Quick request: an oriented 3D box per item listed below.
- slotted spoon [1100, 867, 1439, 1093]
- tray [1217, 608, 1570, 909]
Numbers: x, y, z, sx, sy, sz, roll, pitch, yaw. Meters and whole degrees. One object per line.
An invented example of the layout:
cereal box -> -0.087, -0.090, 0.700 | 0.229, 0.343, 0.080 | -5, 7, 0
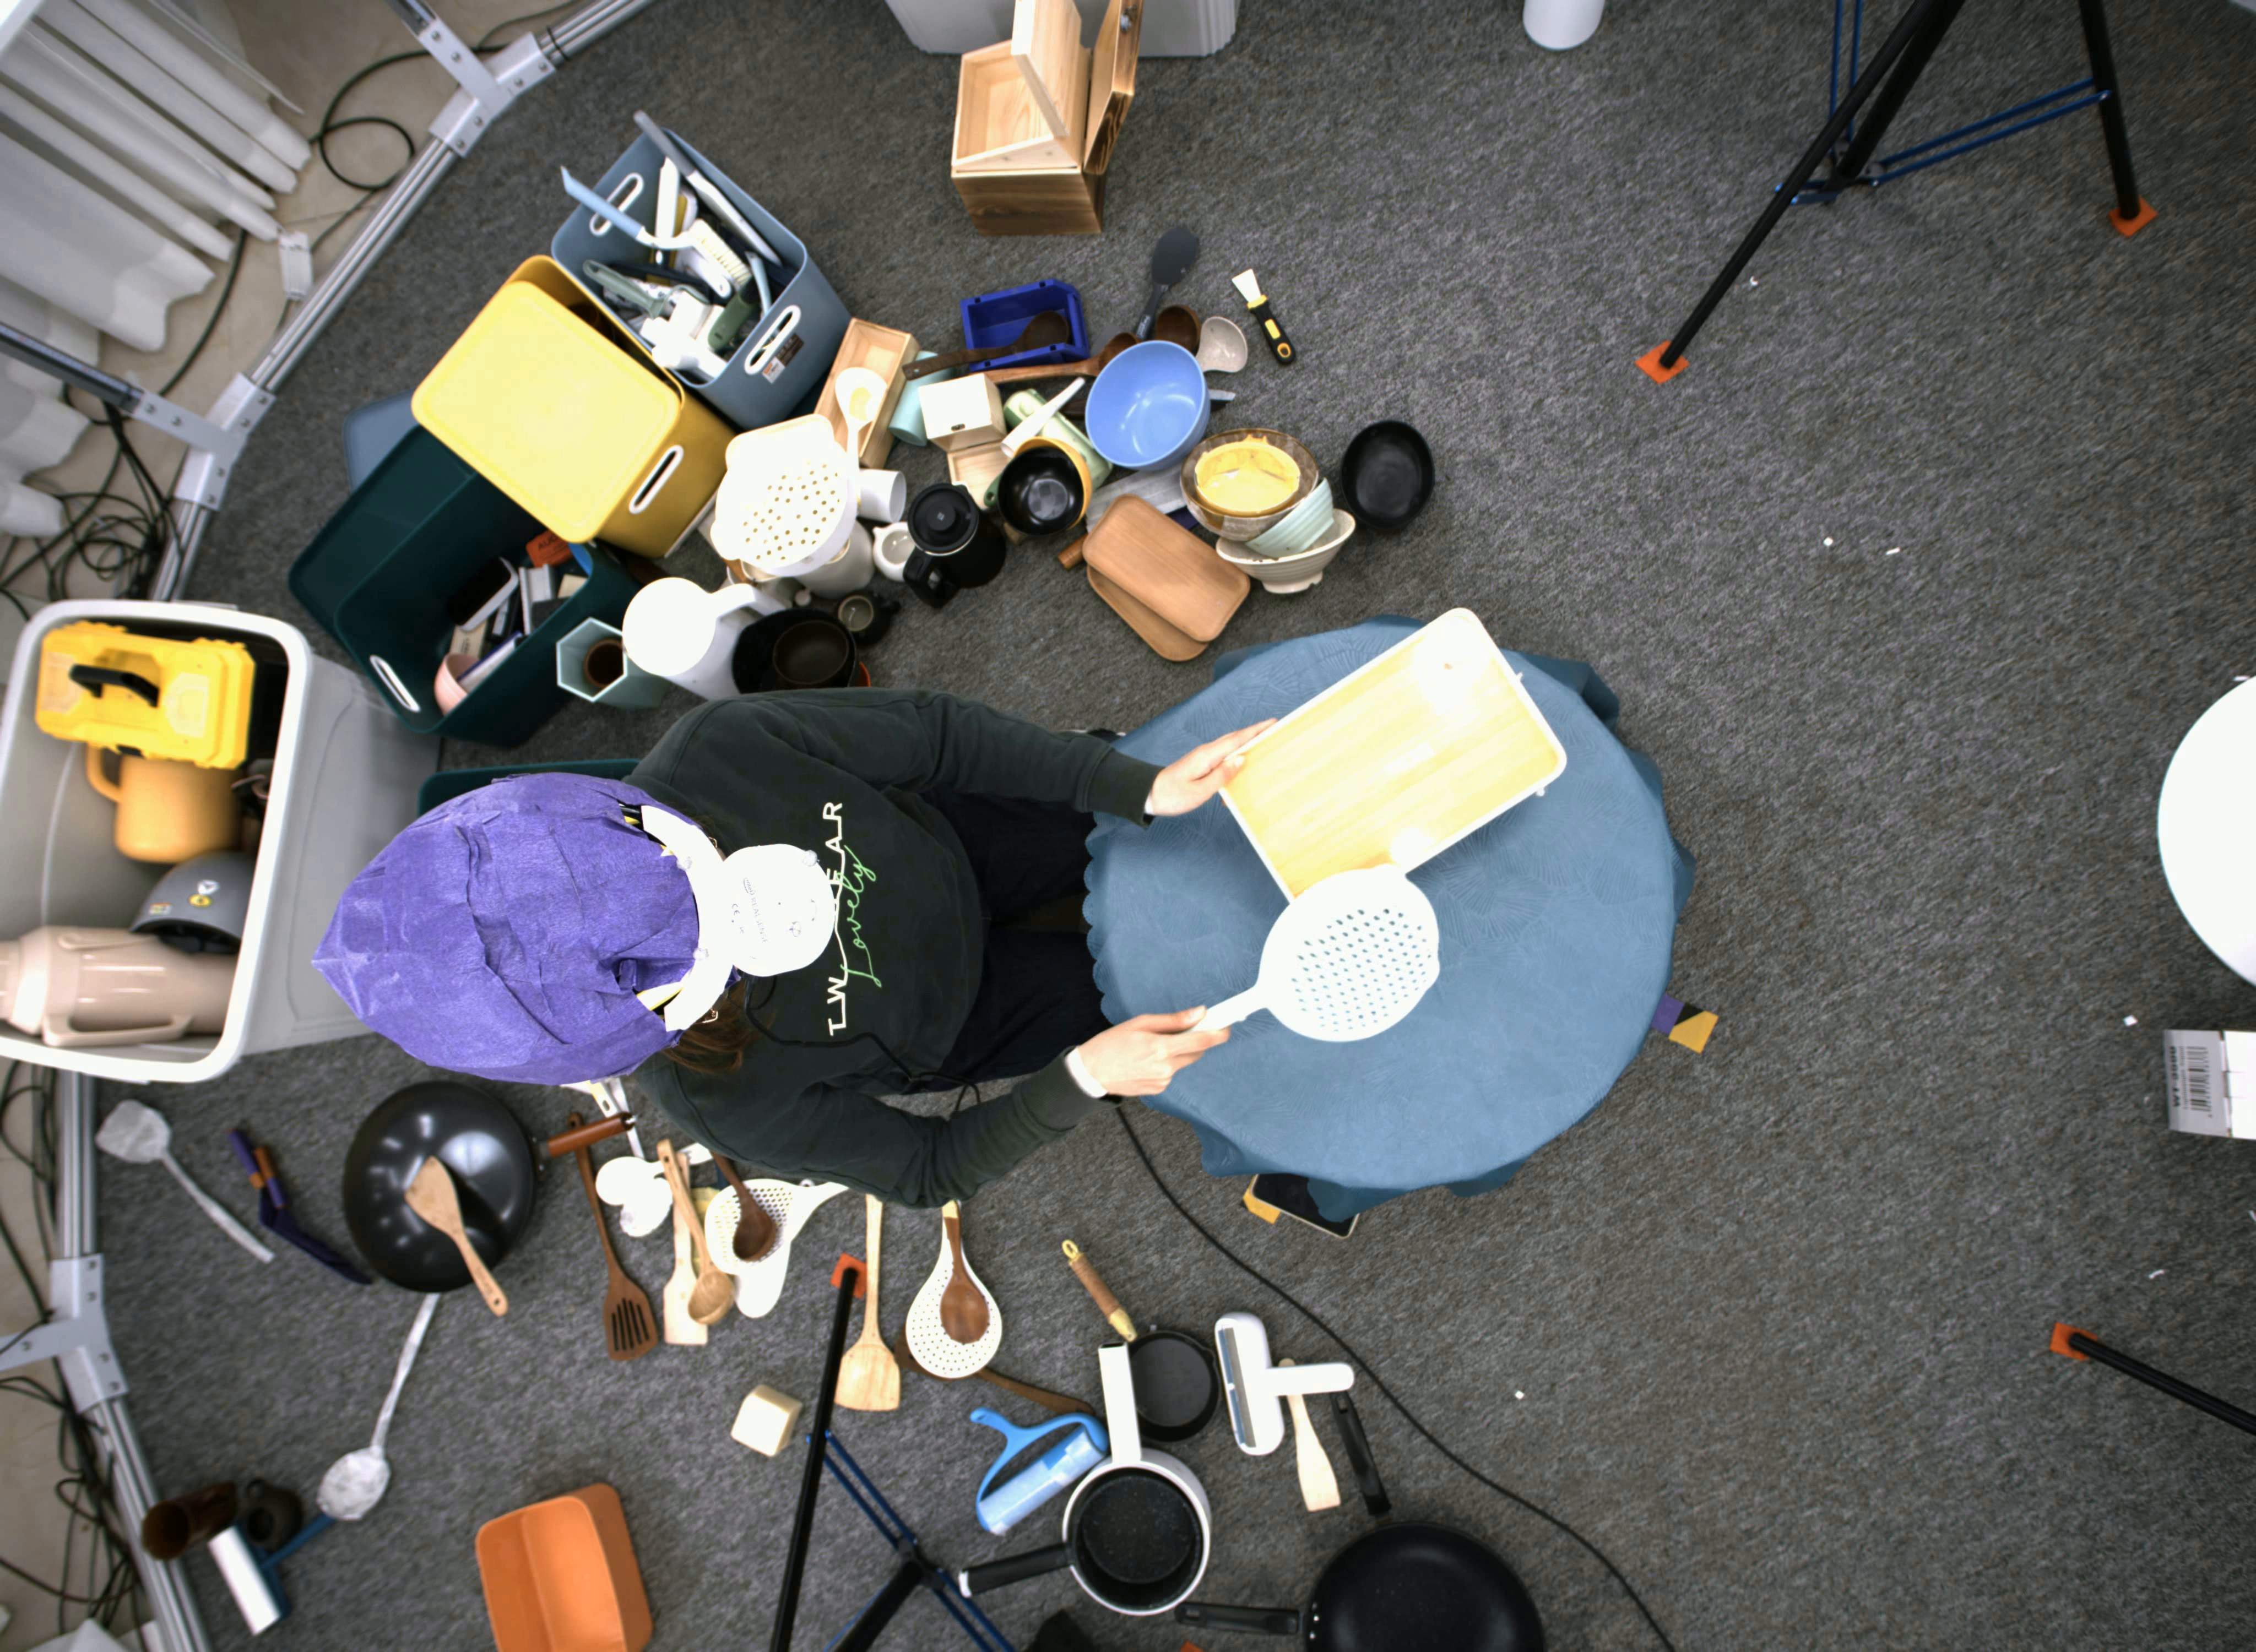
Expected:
slotted spoon -> 0.122, 0.167, 1.293 | 0.362, 0.076, 0.165 | -23, 47, 12
tray -> 0.257, -0.059, 1.349 | 0.302, 0.027, 0.191 | -33, 88, 10
